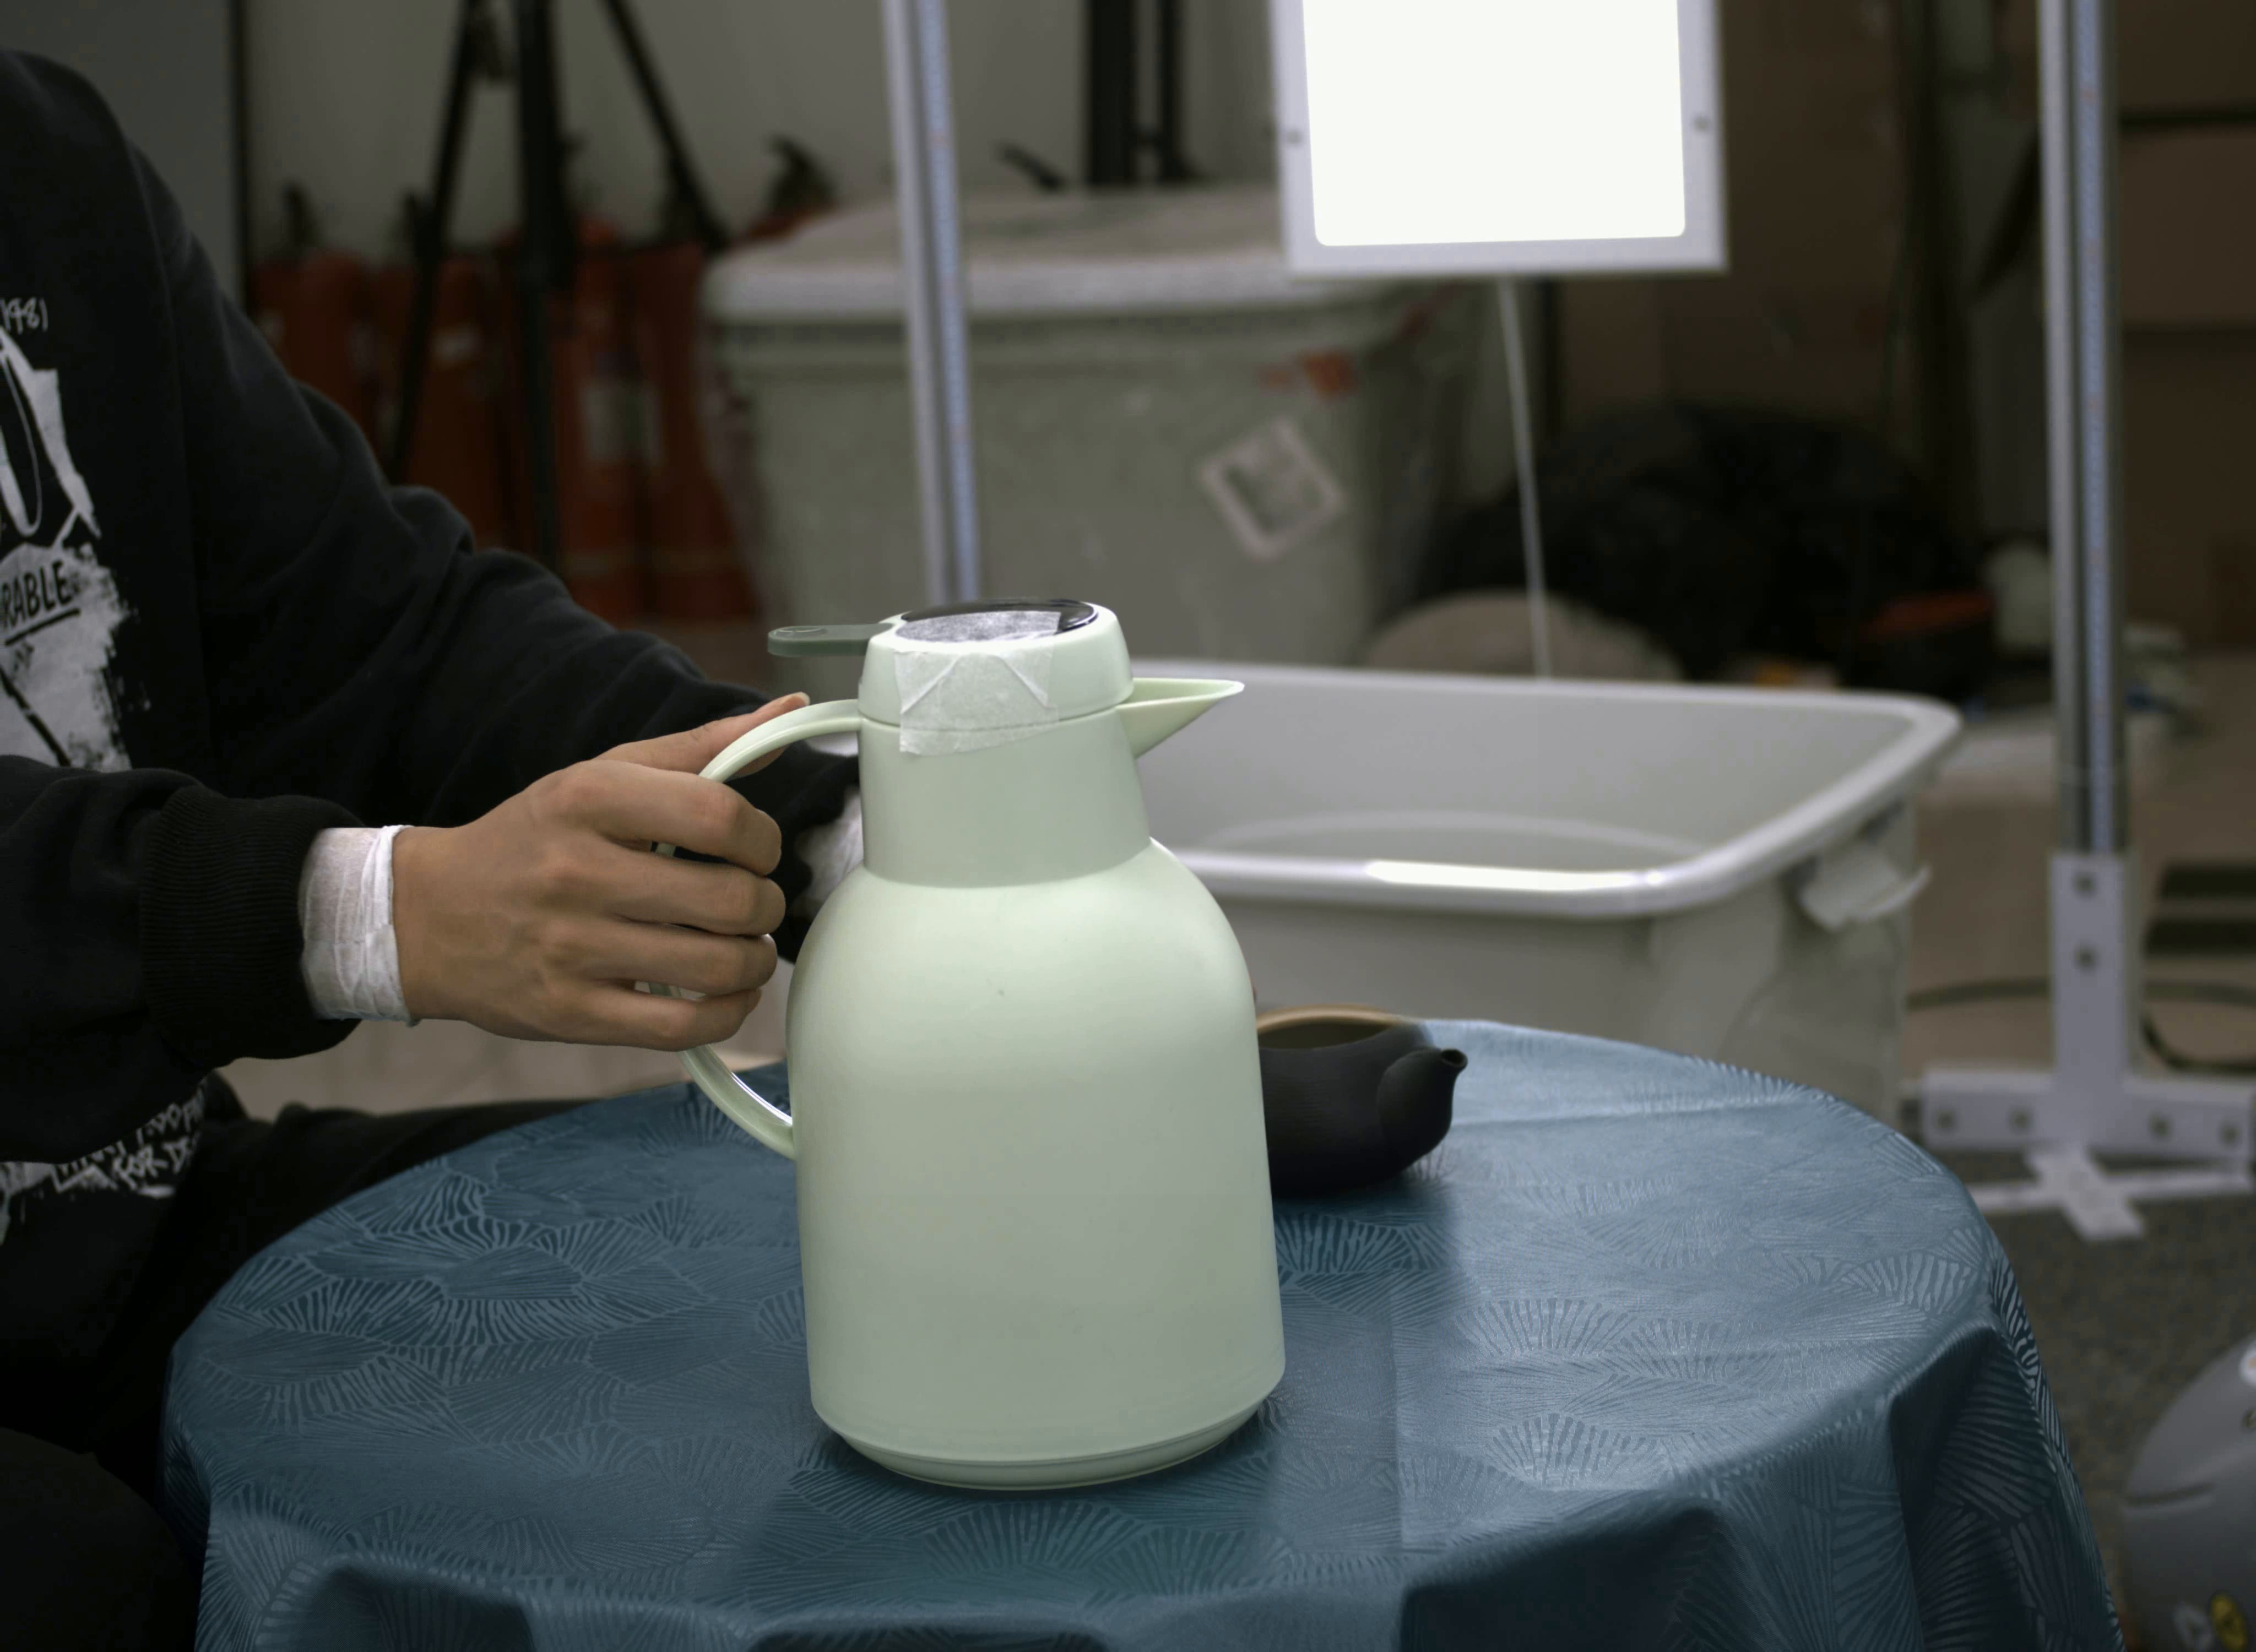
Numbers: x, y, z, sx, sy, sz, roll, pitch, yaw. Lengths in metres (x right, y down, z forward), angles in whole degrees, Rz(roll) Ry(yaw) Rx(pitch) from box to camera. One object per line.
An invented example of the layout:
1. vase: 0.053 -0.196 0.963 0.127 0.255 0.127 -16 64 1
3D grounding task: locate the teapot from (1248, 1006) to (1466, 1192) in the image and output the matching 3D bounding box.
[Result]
1. teapot: 0.065 0.094 1.896 0.136 0.053 0.088 9 18 43

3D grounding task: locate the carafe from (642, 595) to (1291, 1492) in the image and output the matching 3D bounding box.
1. carafe: -0.046 0.062 1.656 0.187 0.257 0.143 -7 16 5
